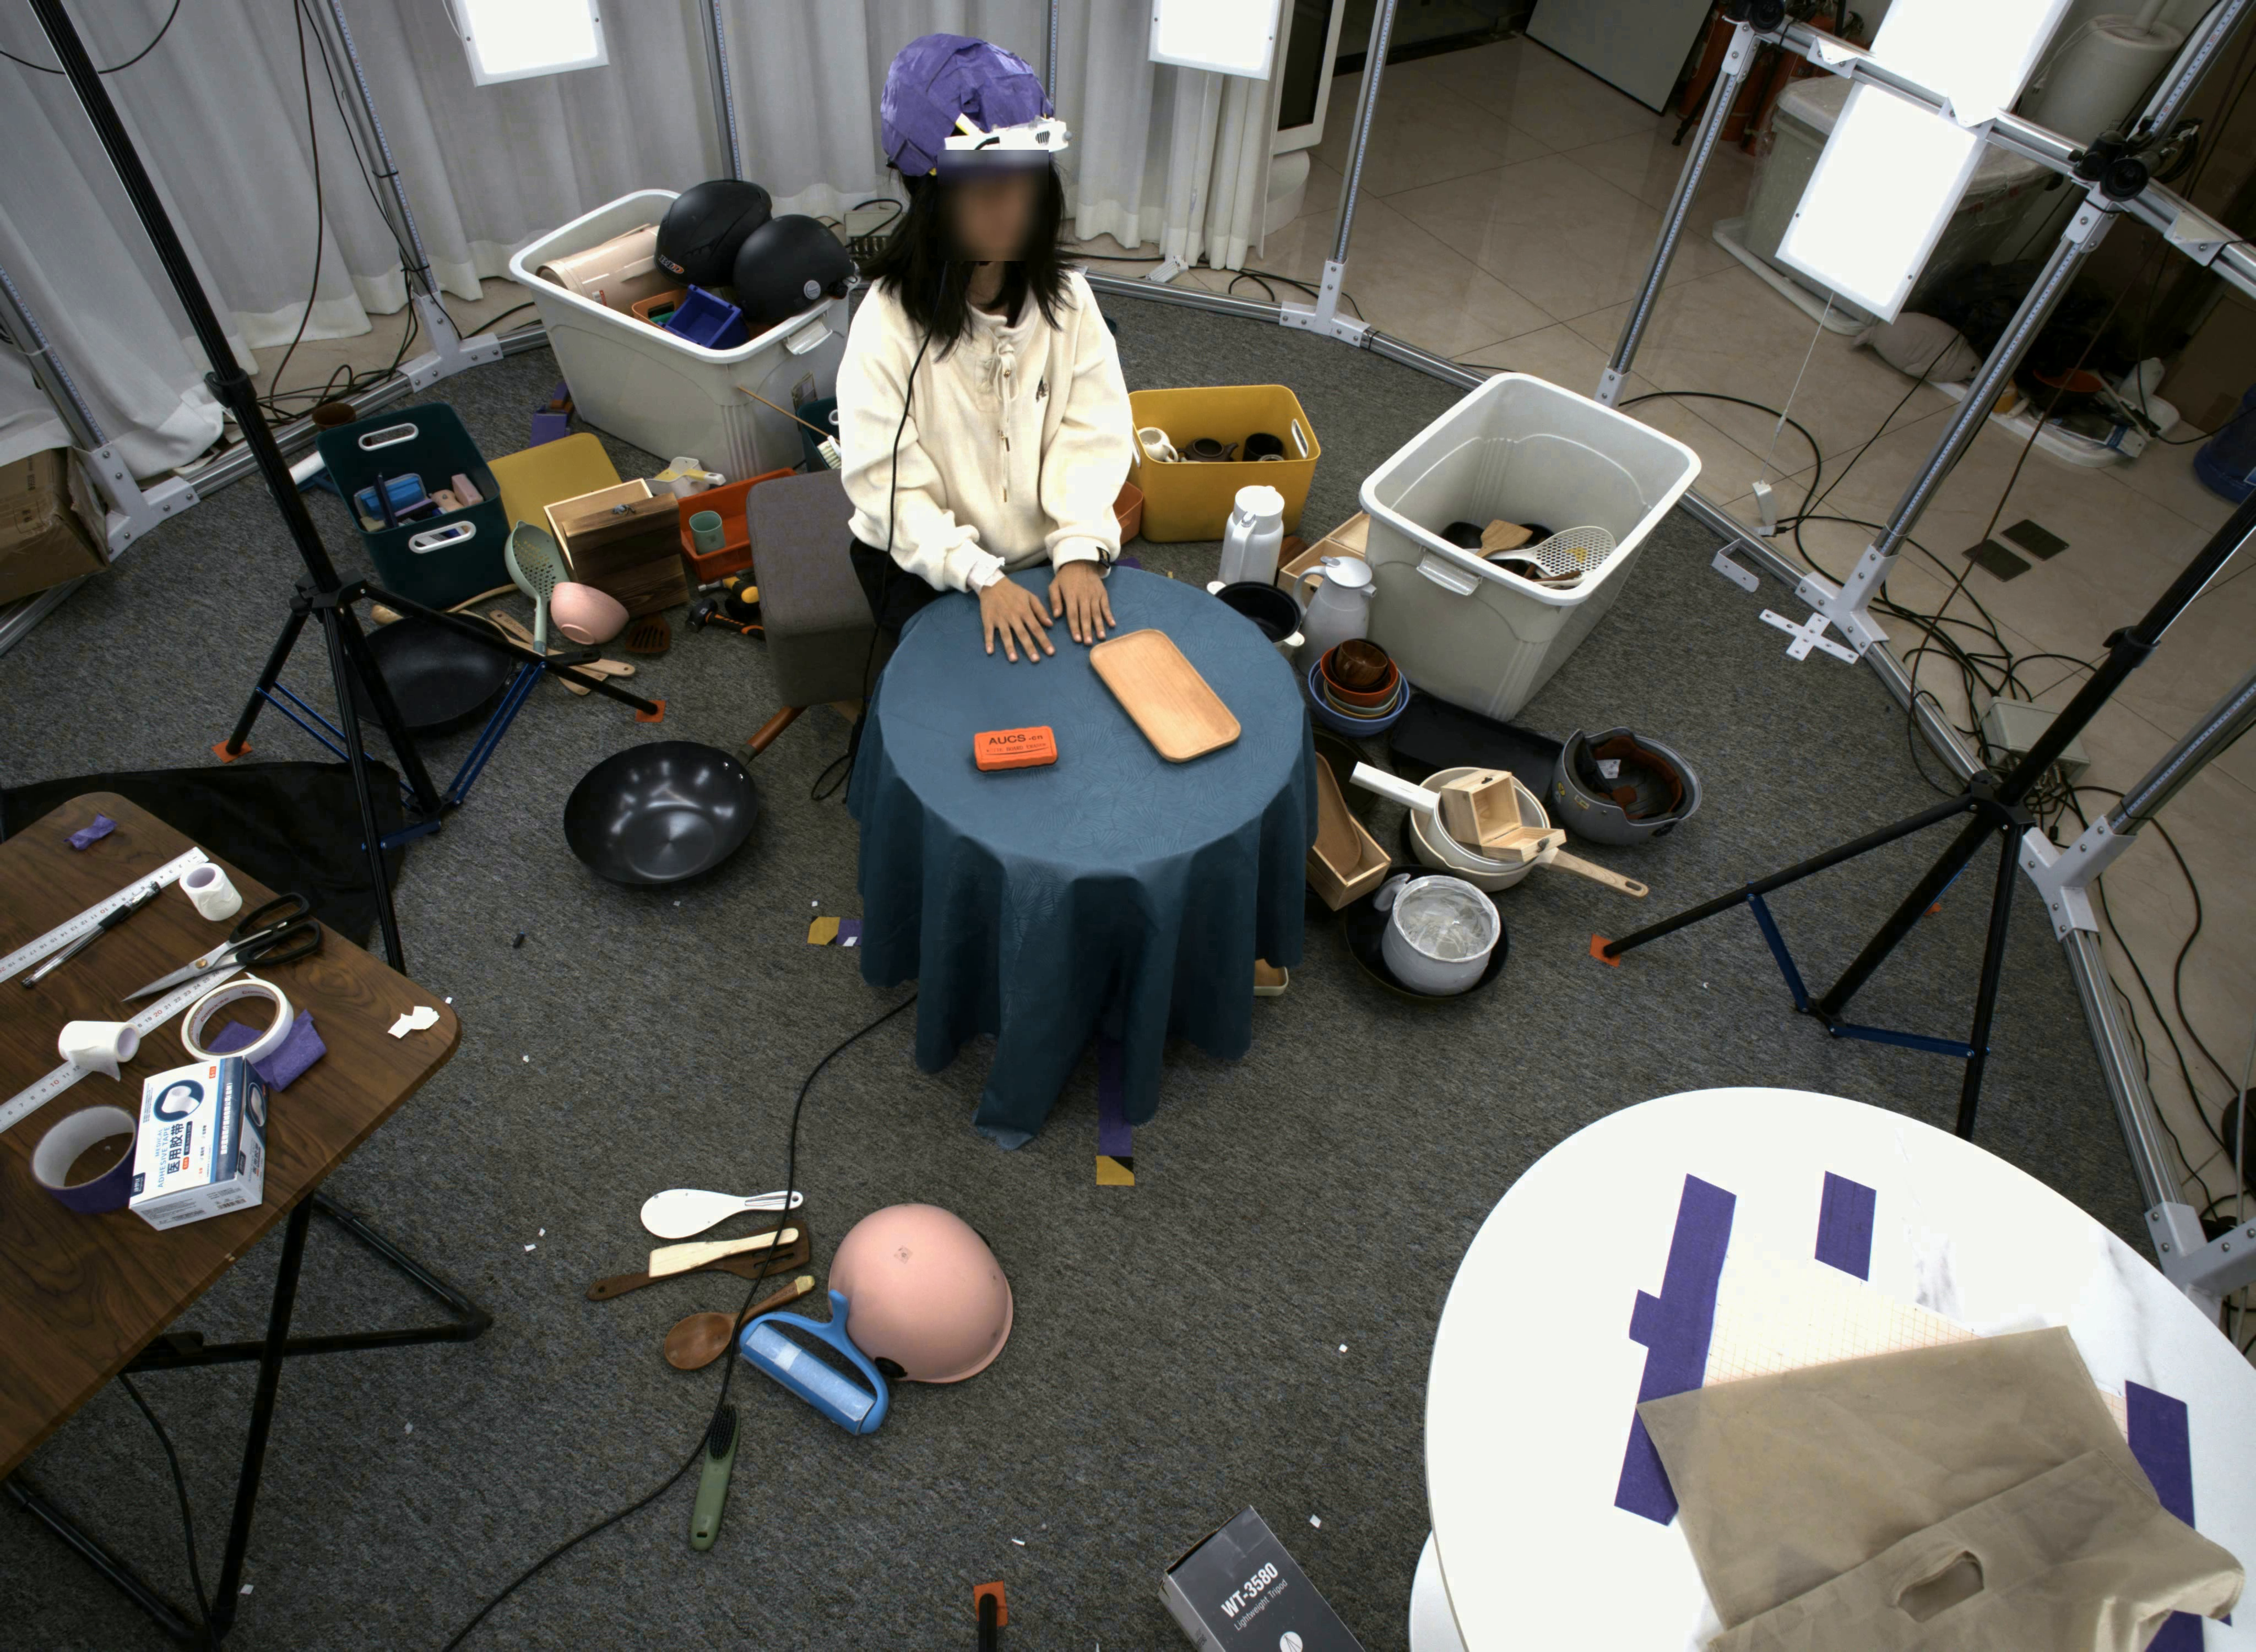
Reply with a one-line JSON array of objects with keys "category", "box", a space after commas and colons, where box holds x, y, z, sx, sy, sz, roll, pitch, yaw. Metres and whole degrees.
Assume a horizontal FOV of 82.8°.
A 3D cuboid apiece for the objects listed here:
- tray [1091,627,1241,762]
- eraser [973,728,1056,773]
[{"category": "tray", "box": [0.051, -0.190, 1.826, 0.131, 0.022, 0.256, -18, 52, -22]}, {"category": "eraser", "box": [-0.153, -0.103, 1.733, 0.108, 0.022, 0.060, -6, 51, -10]}]
